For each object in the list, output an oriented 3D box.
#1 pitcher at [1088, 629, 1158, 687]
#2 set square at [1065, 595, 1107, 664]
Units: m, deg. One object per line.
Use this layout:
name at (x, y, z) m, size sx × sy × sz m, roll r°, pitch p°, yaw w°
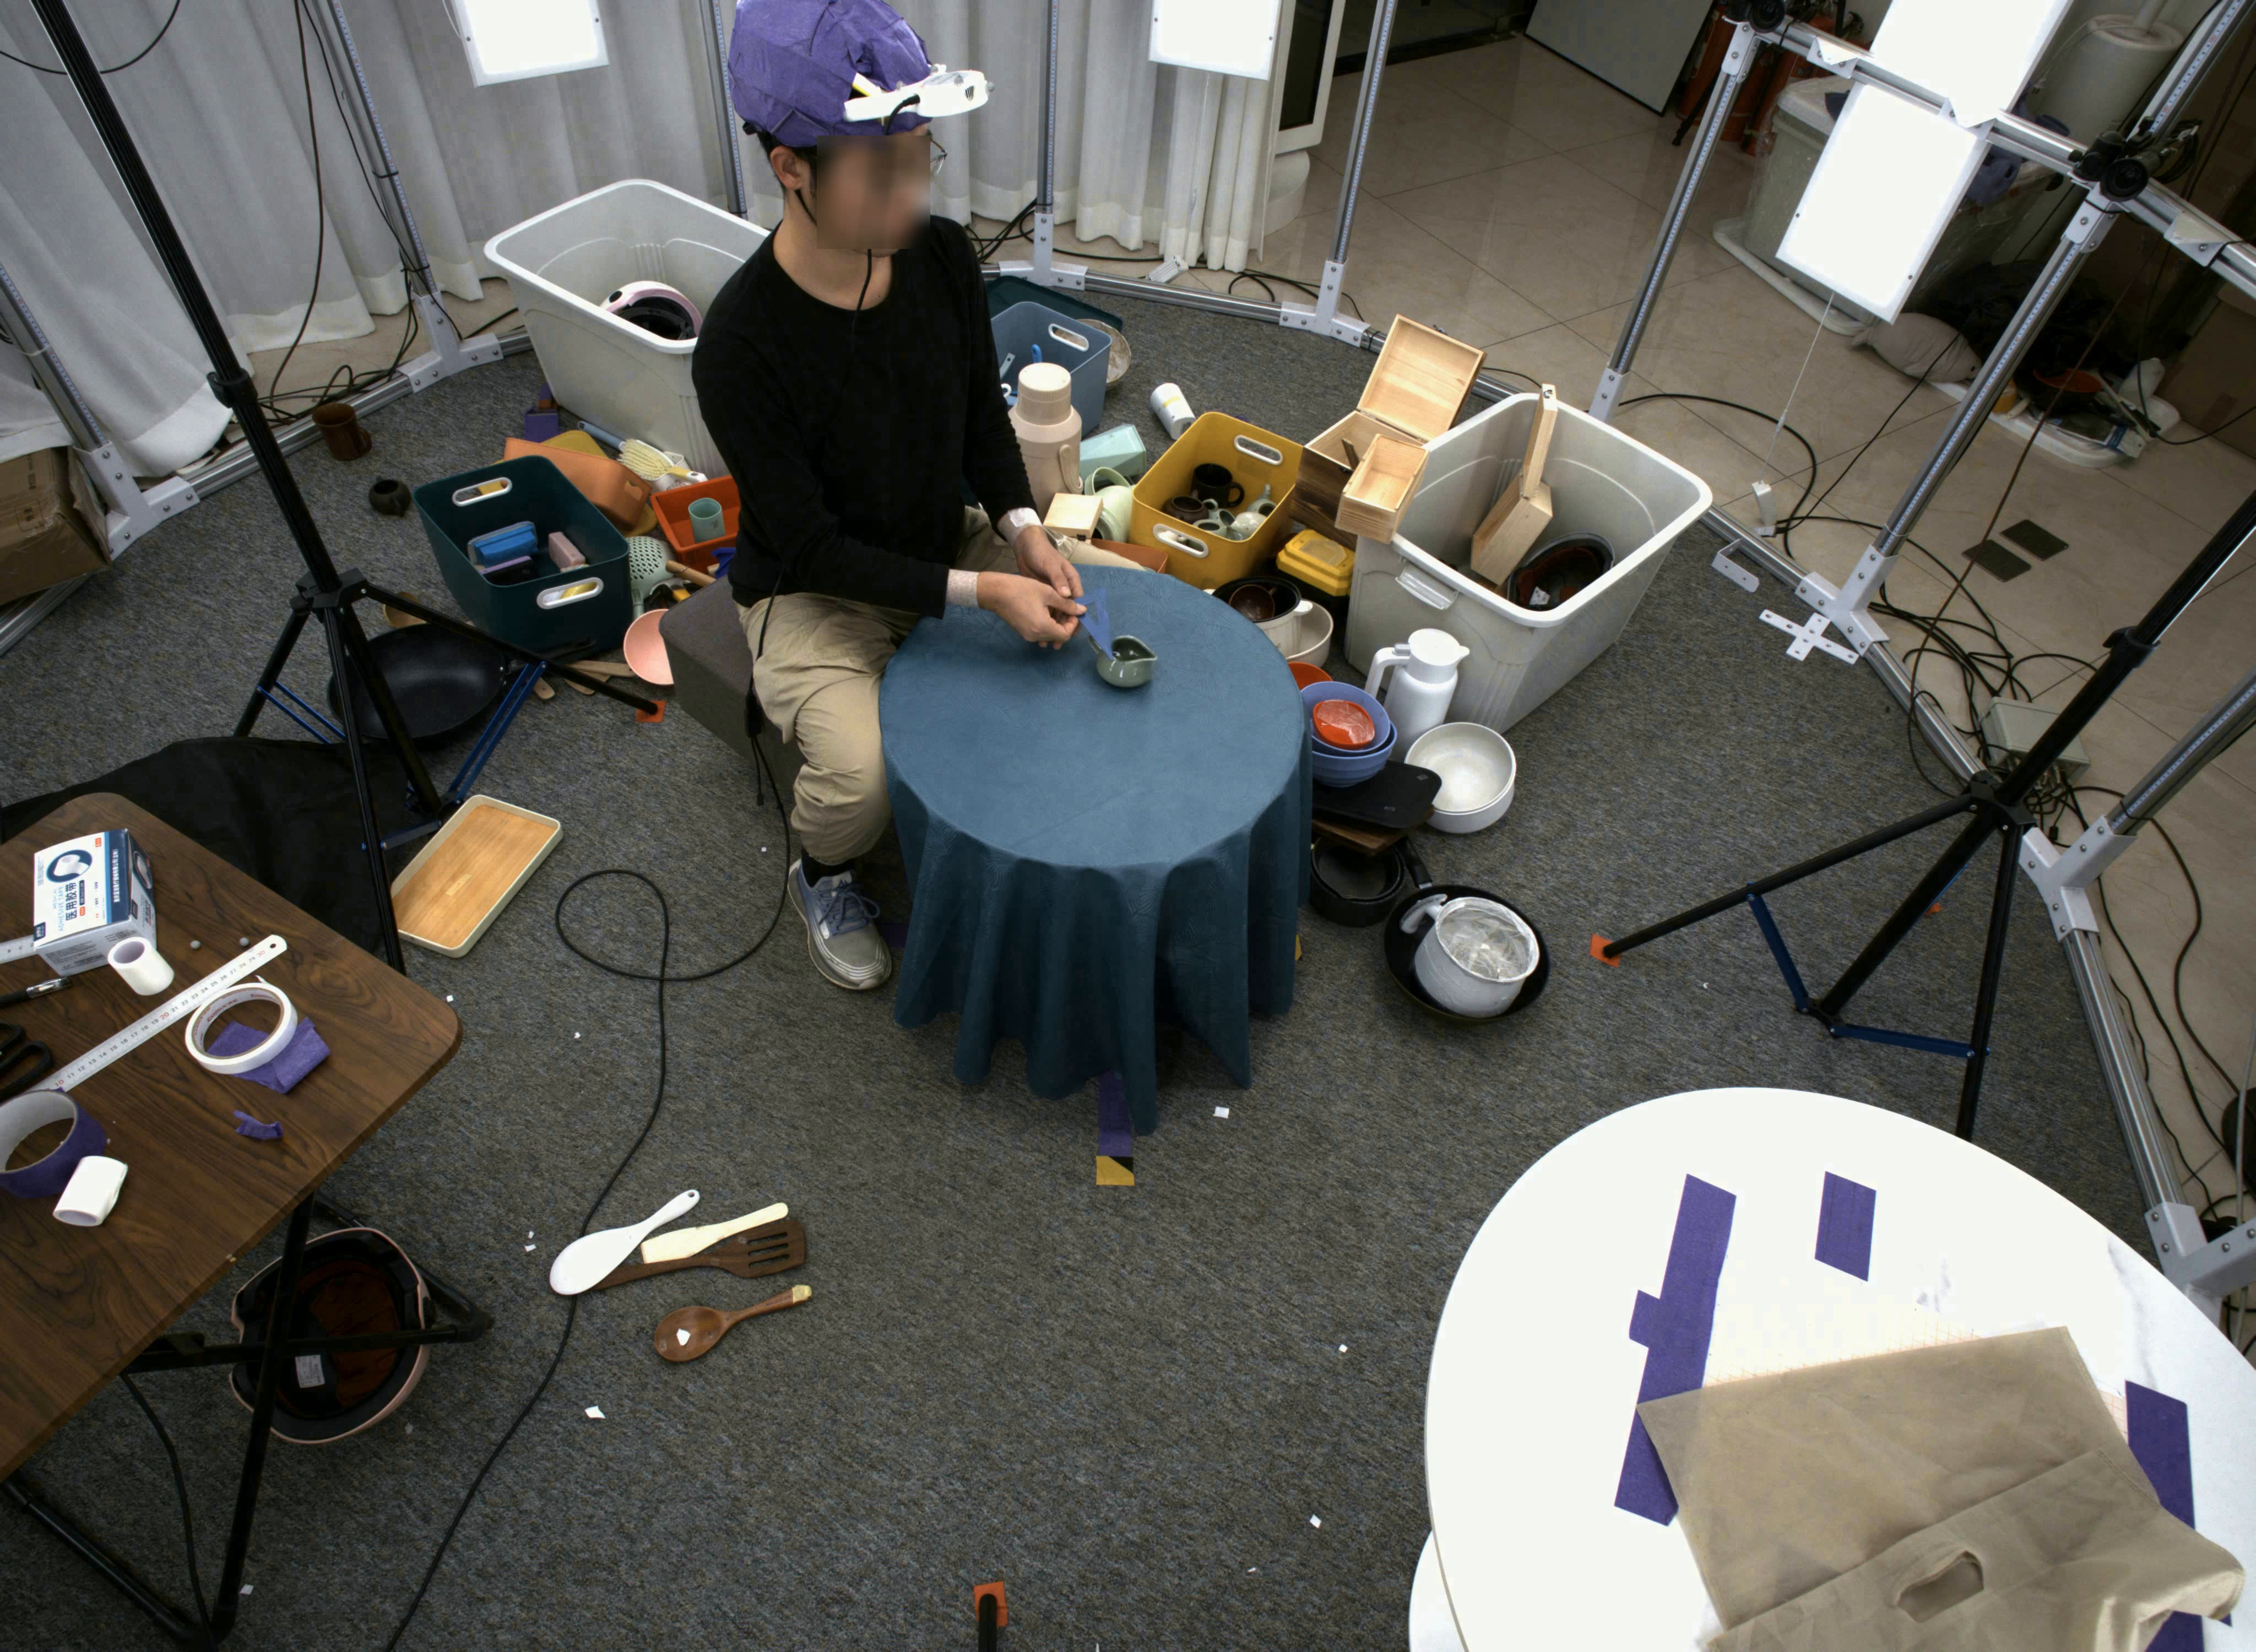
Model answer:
pitcher at (-0.009, -0.243, 1.844) m, size 0.113 × 0.055 × 0.085 m, roll 25°, pitch 50°, yaw 17°
set square at (-0.060, -0.285, 1.834) m, size 0.061 × 0.006 × 0.135 m, roll 5°, pitch 55°, yaw -9°
